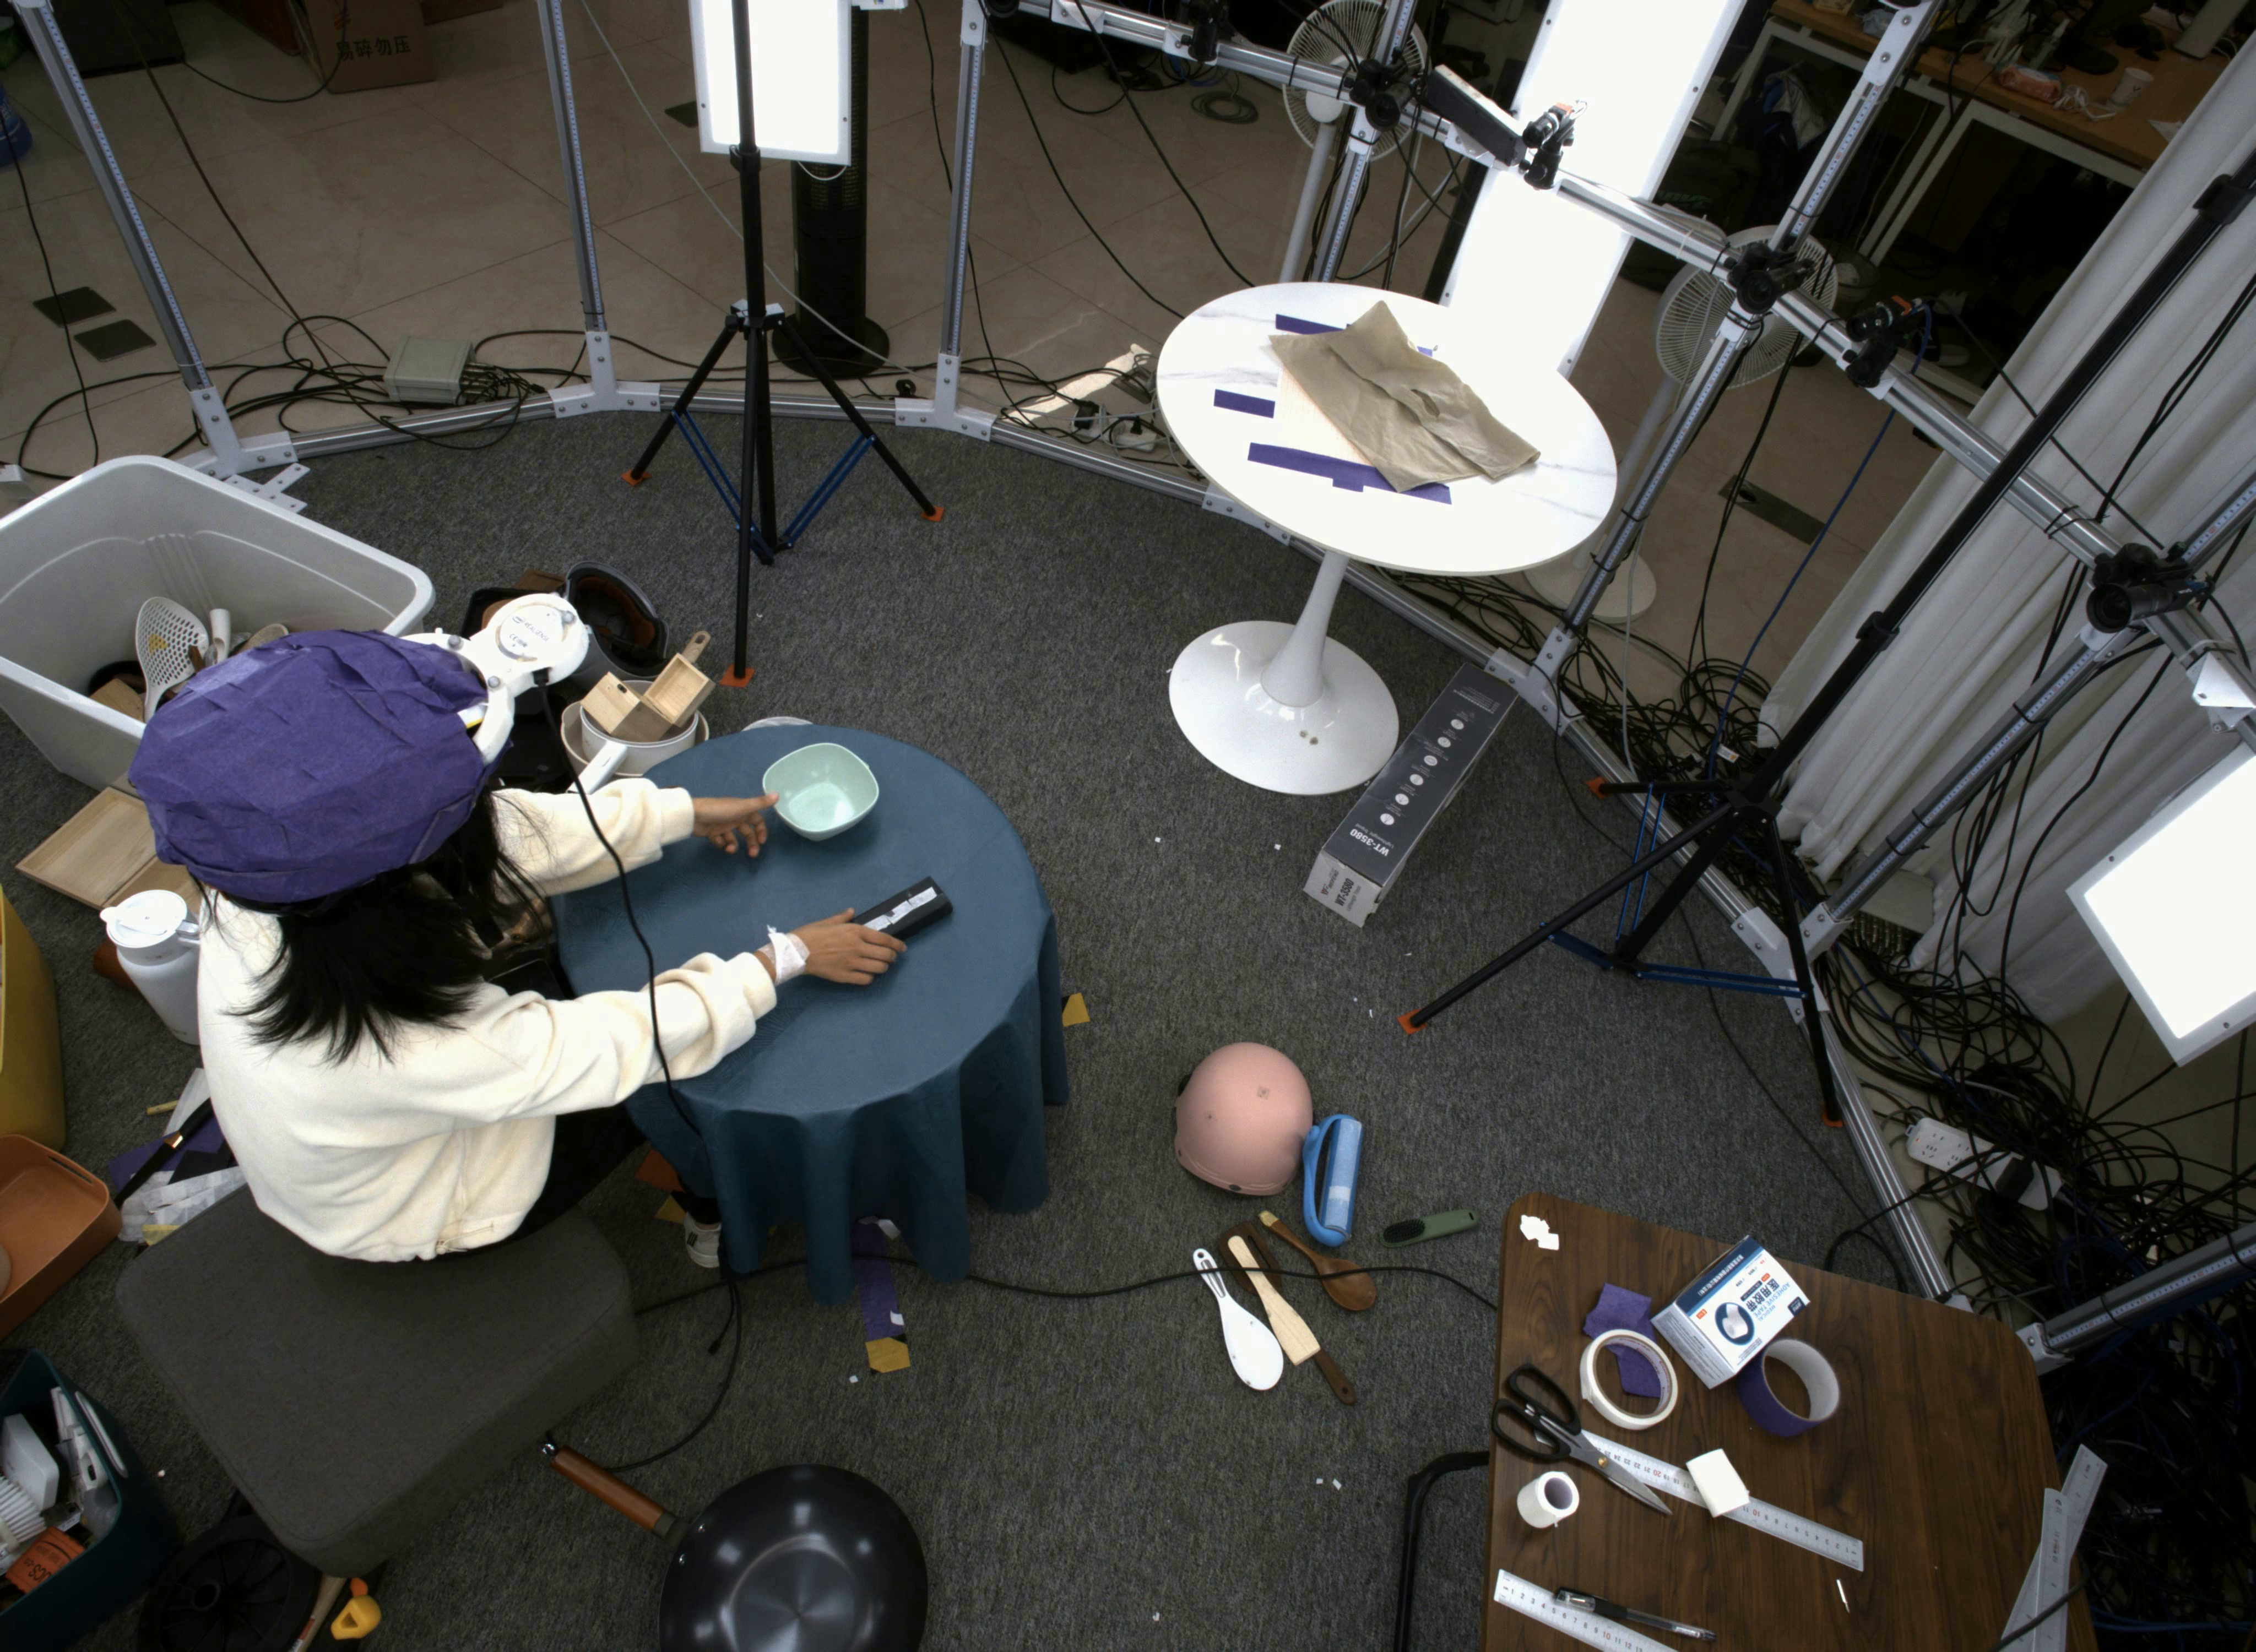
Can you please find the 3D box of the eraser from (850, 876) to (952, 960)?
[{"bbox_3d":[-0.287,0.113,1.653,0.126,0.031,0.052,-34,65,-30],"label":"eraser"}]

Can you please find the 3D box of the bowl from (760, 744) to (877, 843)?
[{"bbox_3d":[-0.408,-0.035,1.713,0.151,0.060,0.148,7,50,-7],"label":"bowl"}]
